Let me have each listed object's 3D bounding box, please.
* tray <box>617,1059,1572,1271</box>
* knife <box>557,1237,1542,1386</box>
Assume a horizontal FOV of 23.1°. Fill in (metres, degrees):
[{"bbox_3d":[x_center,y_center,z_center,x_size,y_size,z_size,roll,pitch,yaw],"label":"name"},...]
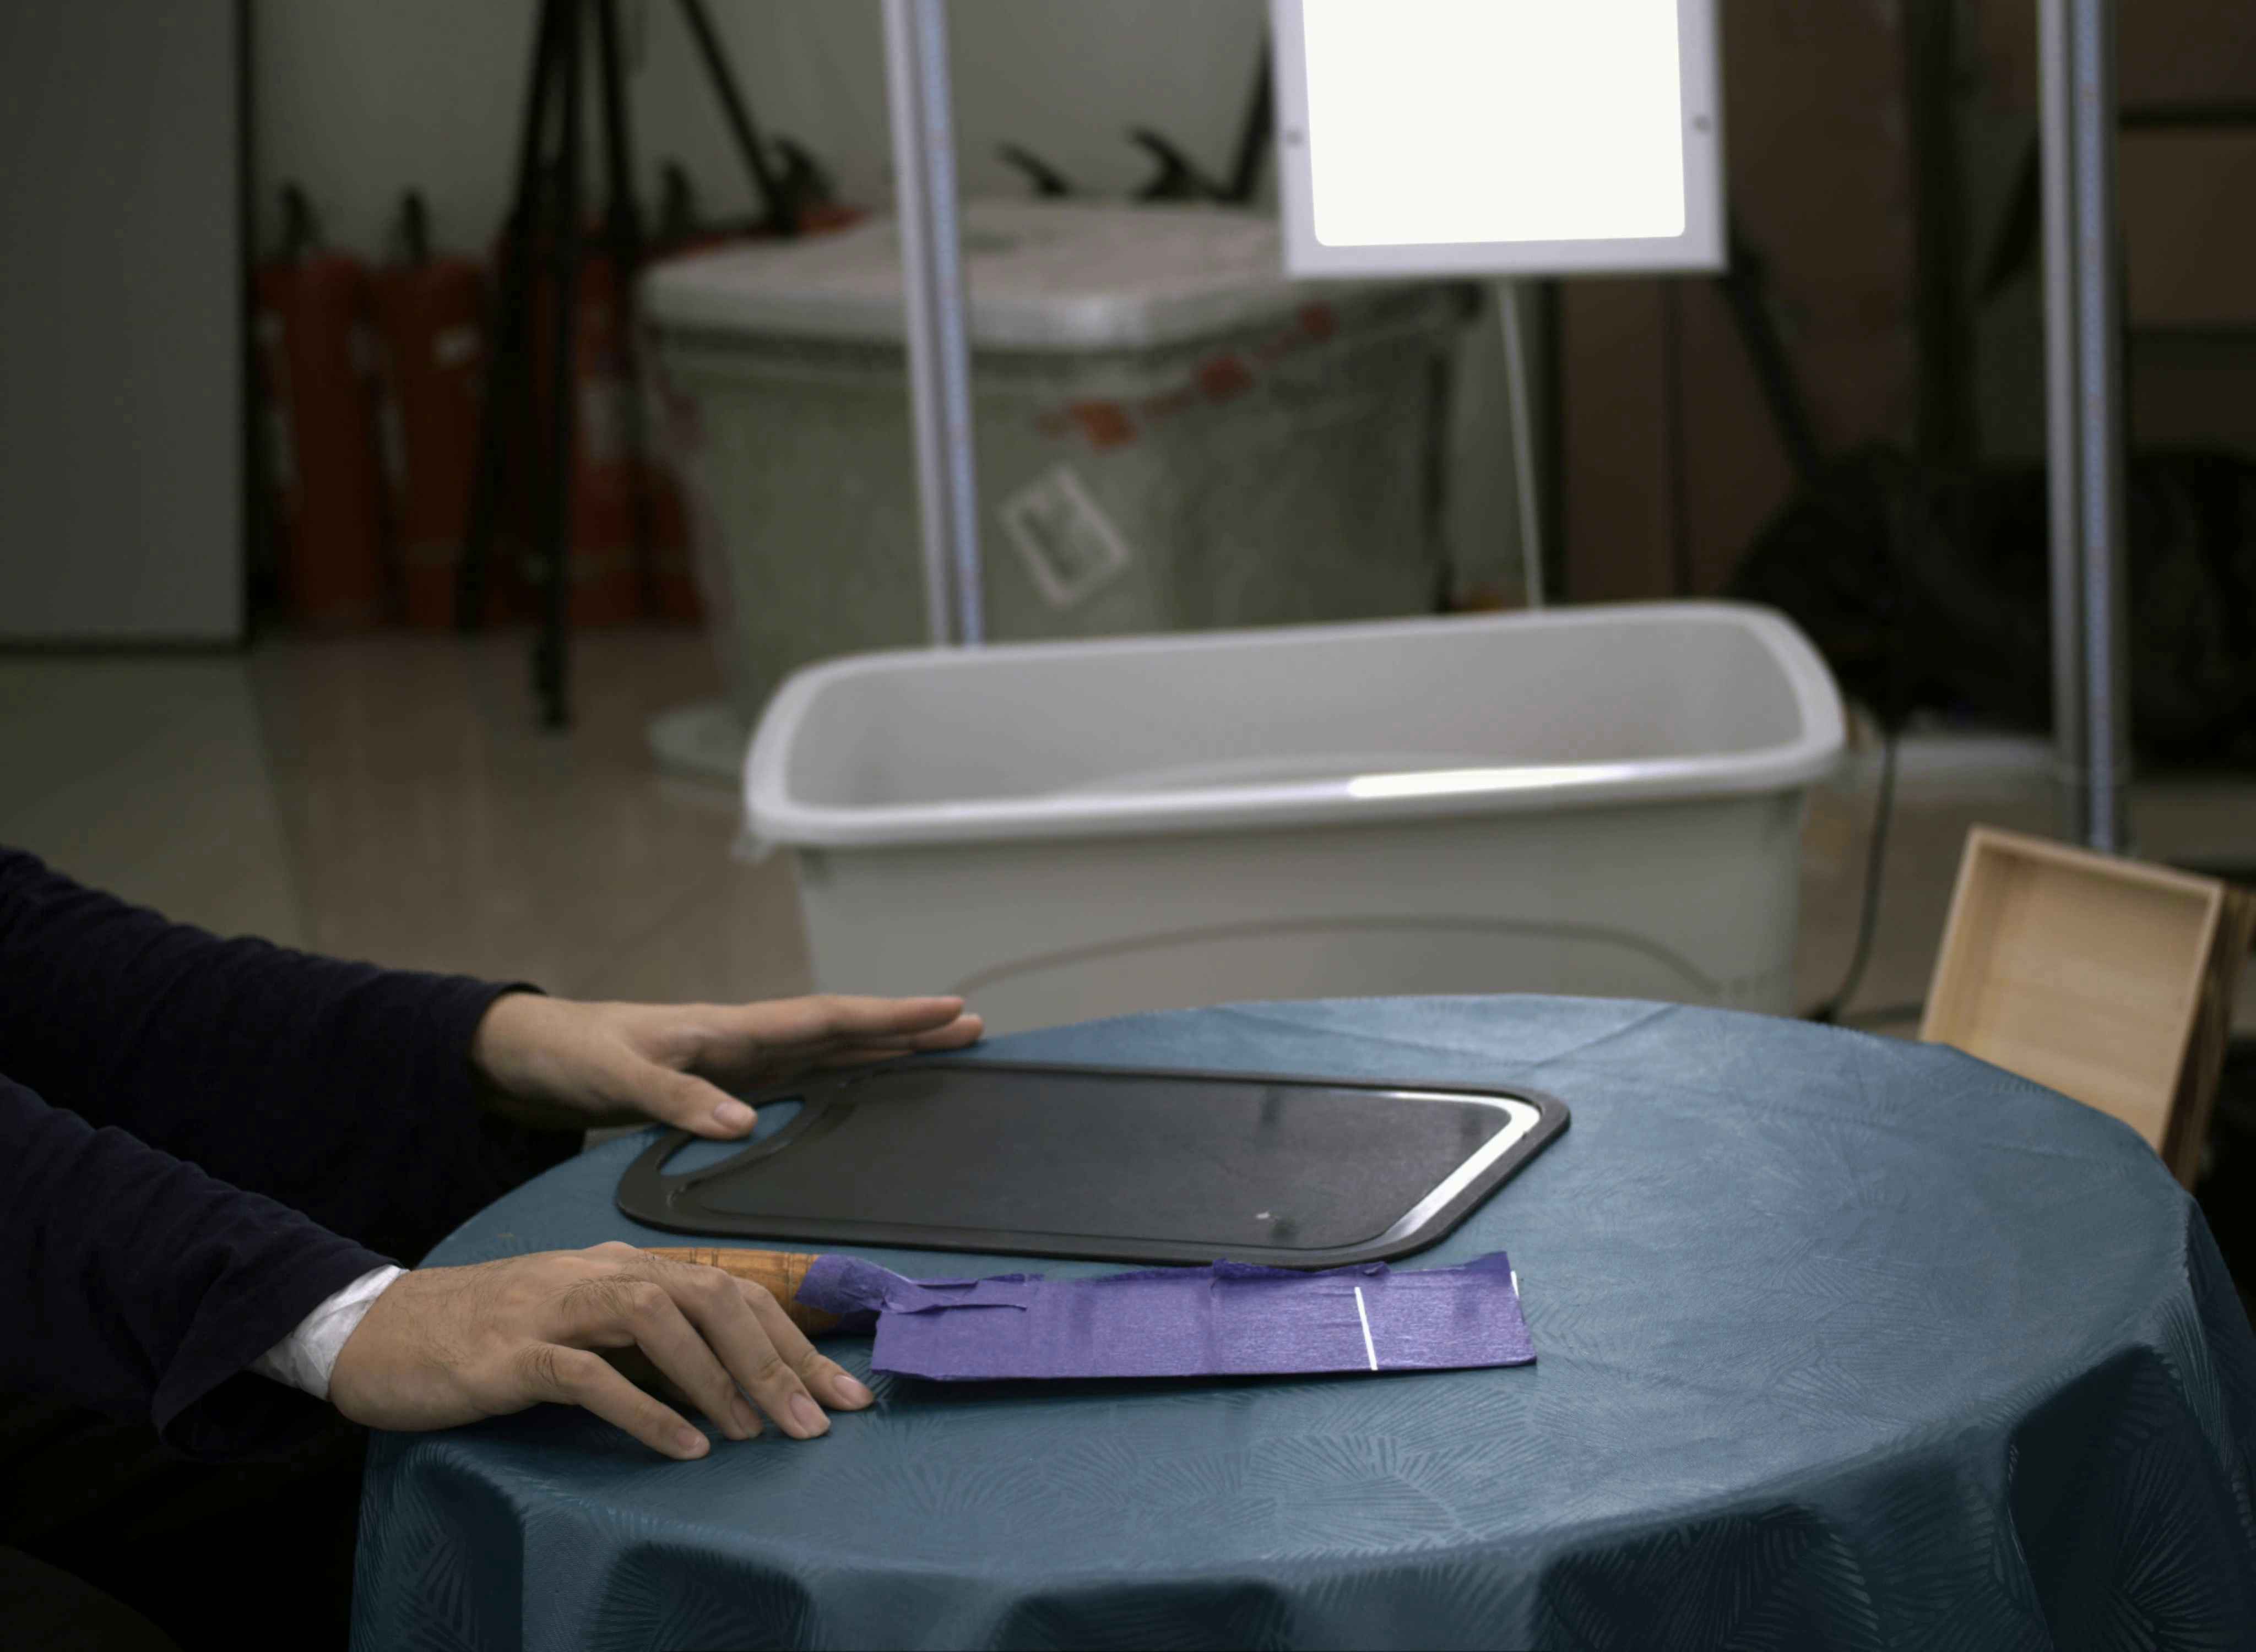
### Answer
[{"bbox_3d":[-0.018,0.115,1.943,0.331,0.010,0.207,1,15,26],"label":"tray"},{"bbox_3d":[-0.028,0.154,1.745,0.315,0.032,0.103,-4,13,3],"label":"knife"}]
